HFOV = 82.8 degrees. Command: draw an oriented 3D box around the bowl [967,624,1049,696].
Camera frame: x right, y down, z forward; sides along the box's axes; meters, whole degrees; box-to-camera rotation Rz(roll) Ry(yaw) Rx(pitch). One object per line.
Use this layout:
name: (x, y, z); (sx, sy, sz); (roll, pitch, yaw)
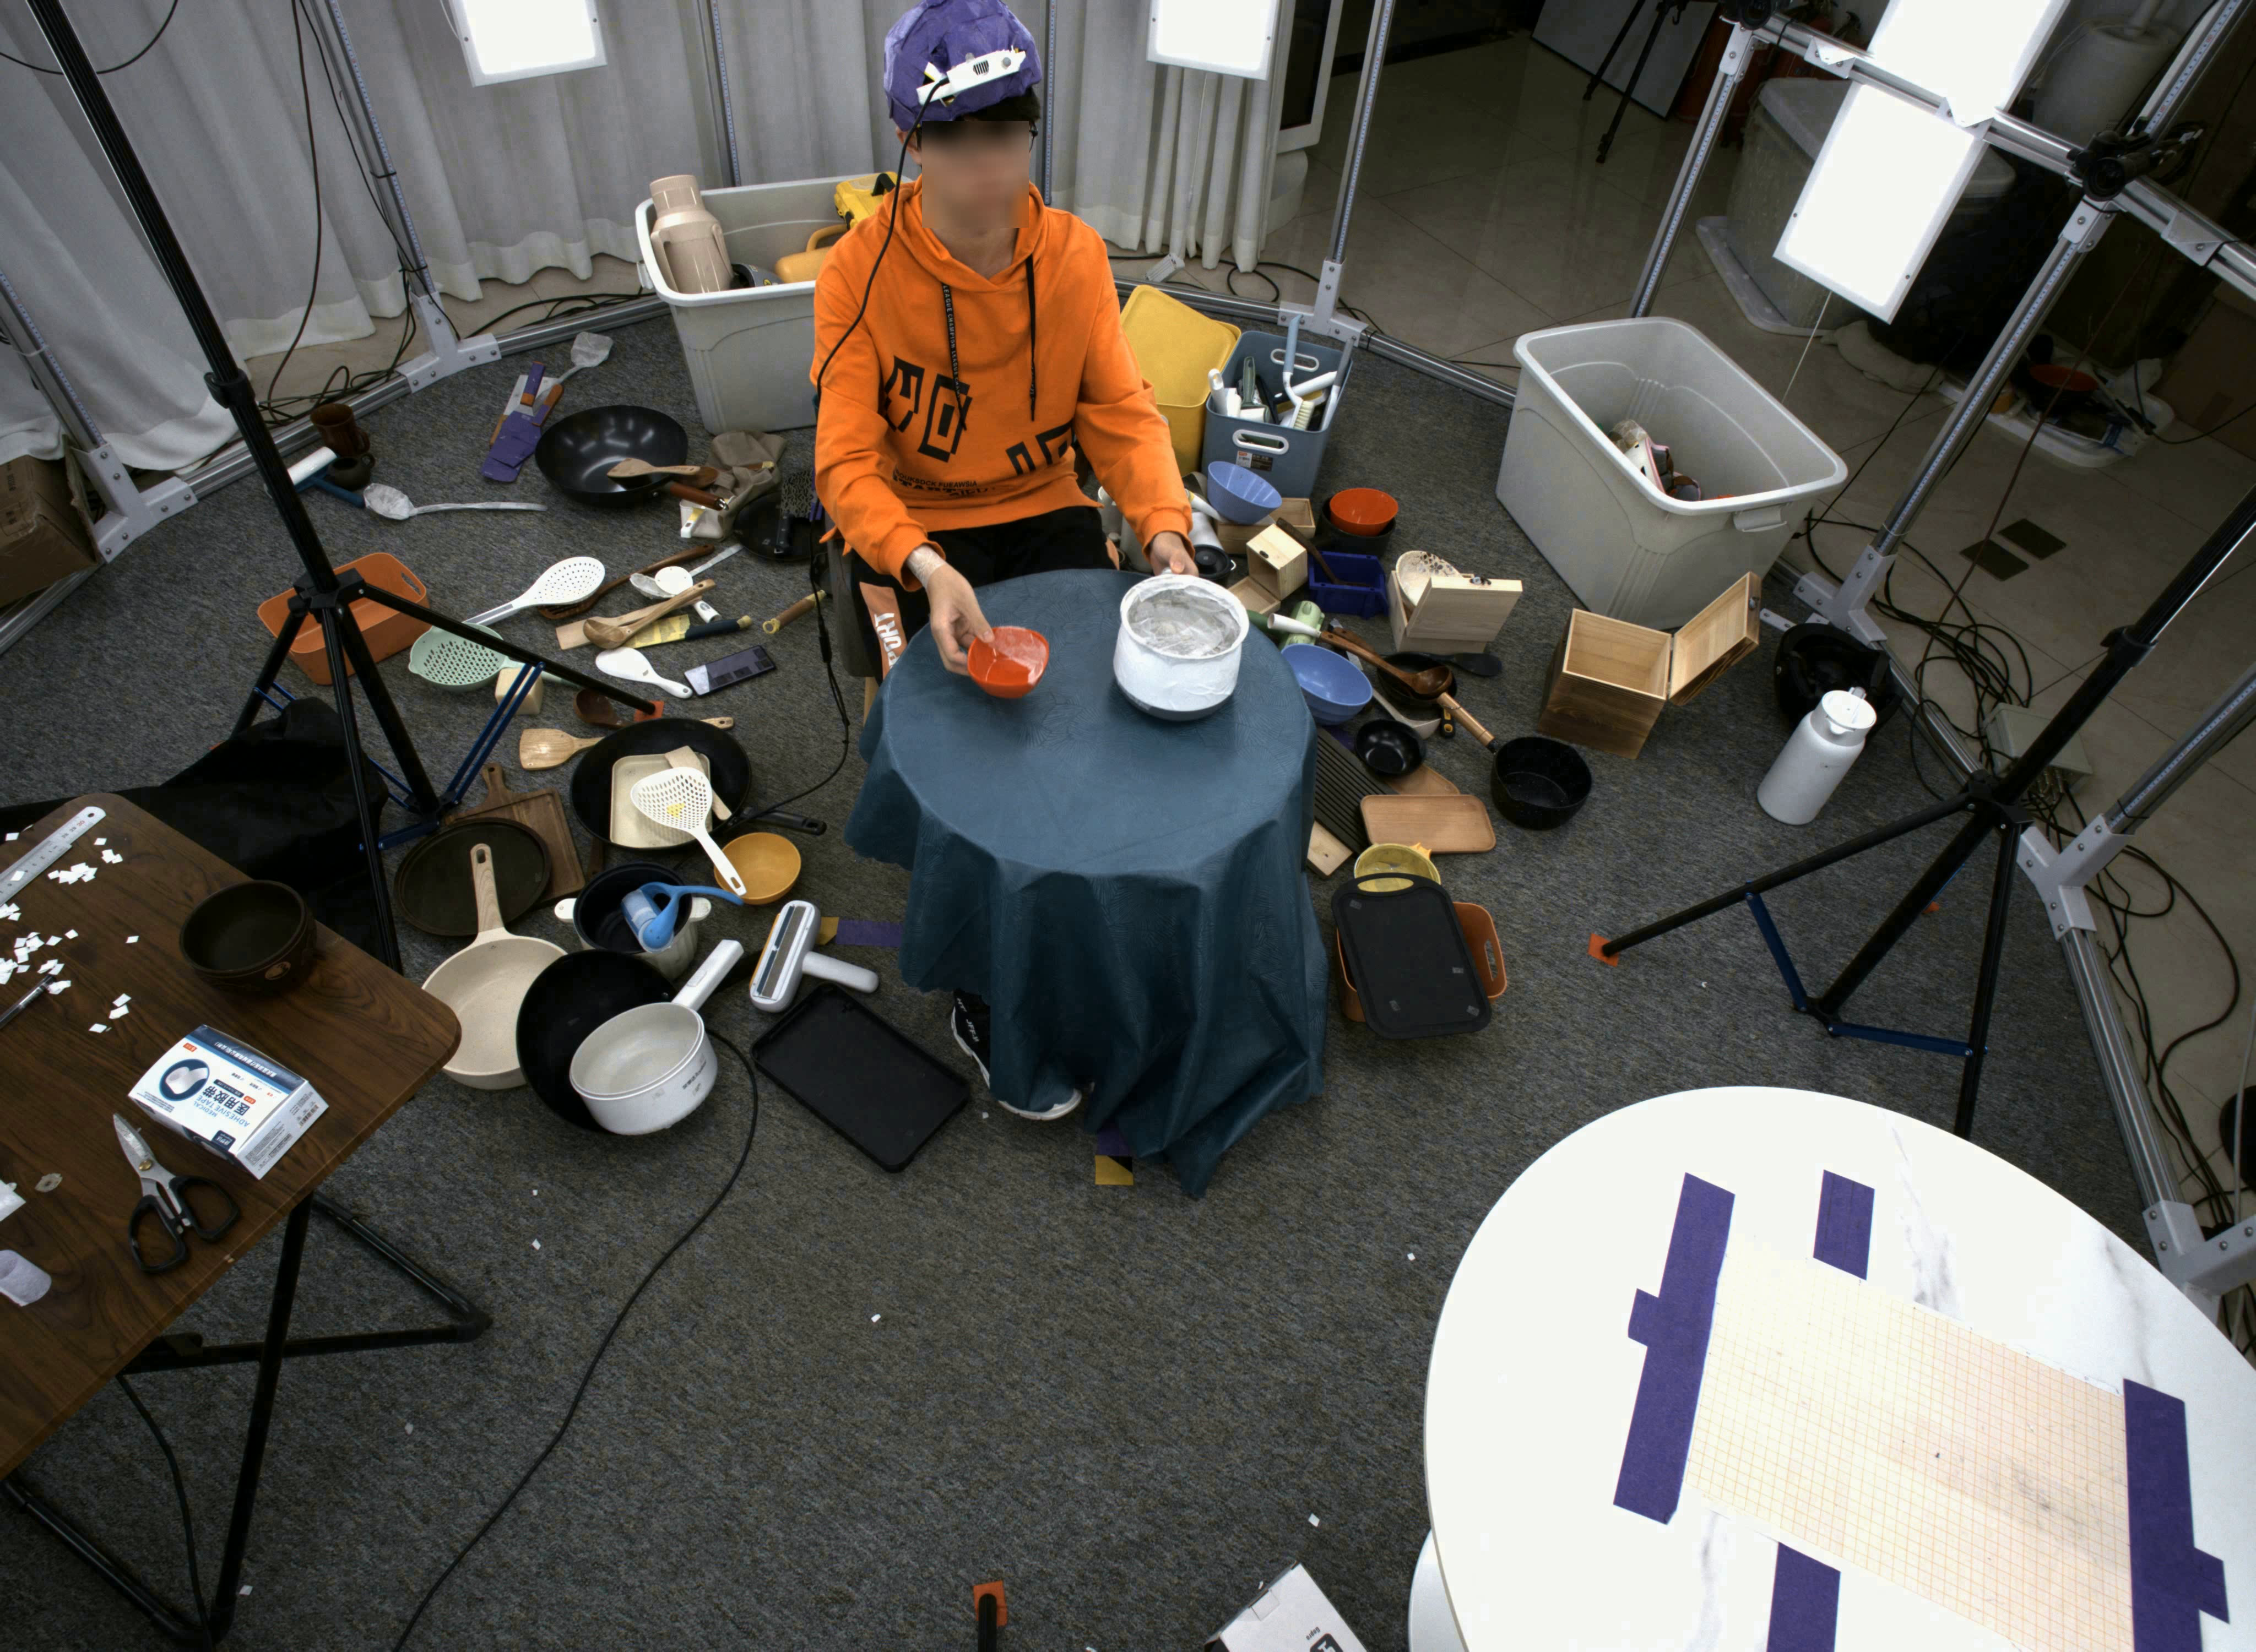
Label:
bowl: (-0.163, -0.221, 1.765); (0.119, 0.050, 0.122); (-1, 52, 1)

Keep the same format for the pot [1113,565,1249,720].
pot: (0.066, -0.267, 1.811); (0.178, 0.133, 0.239); (-3, 48, -11)
